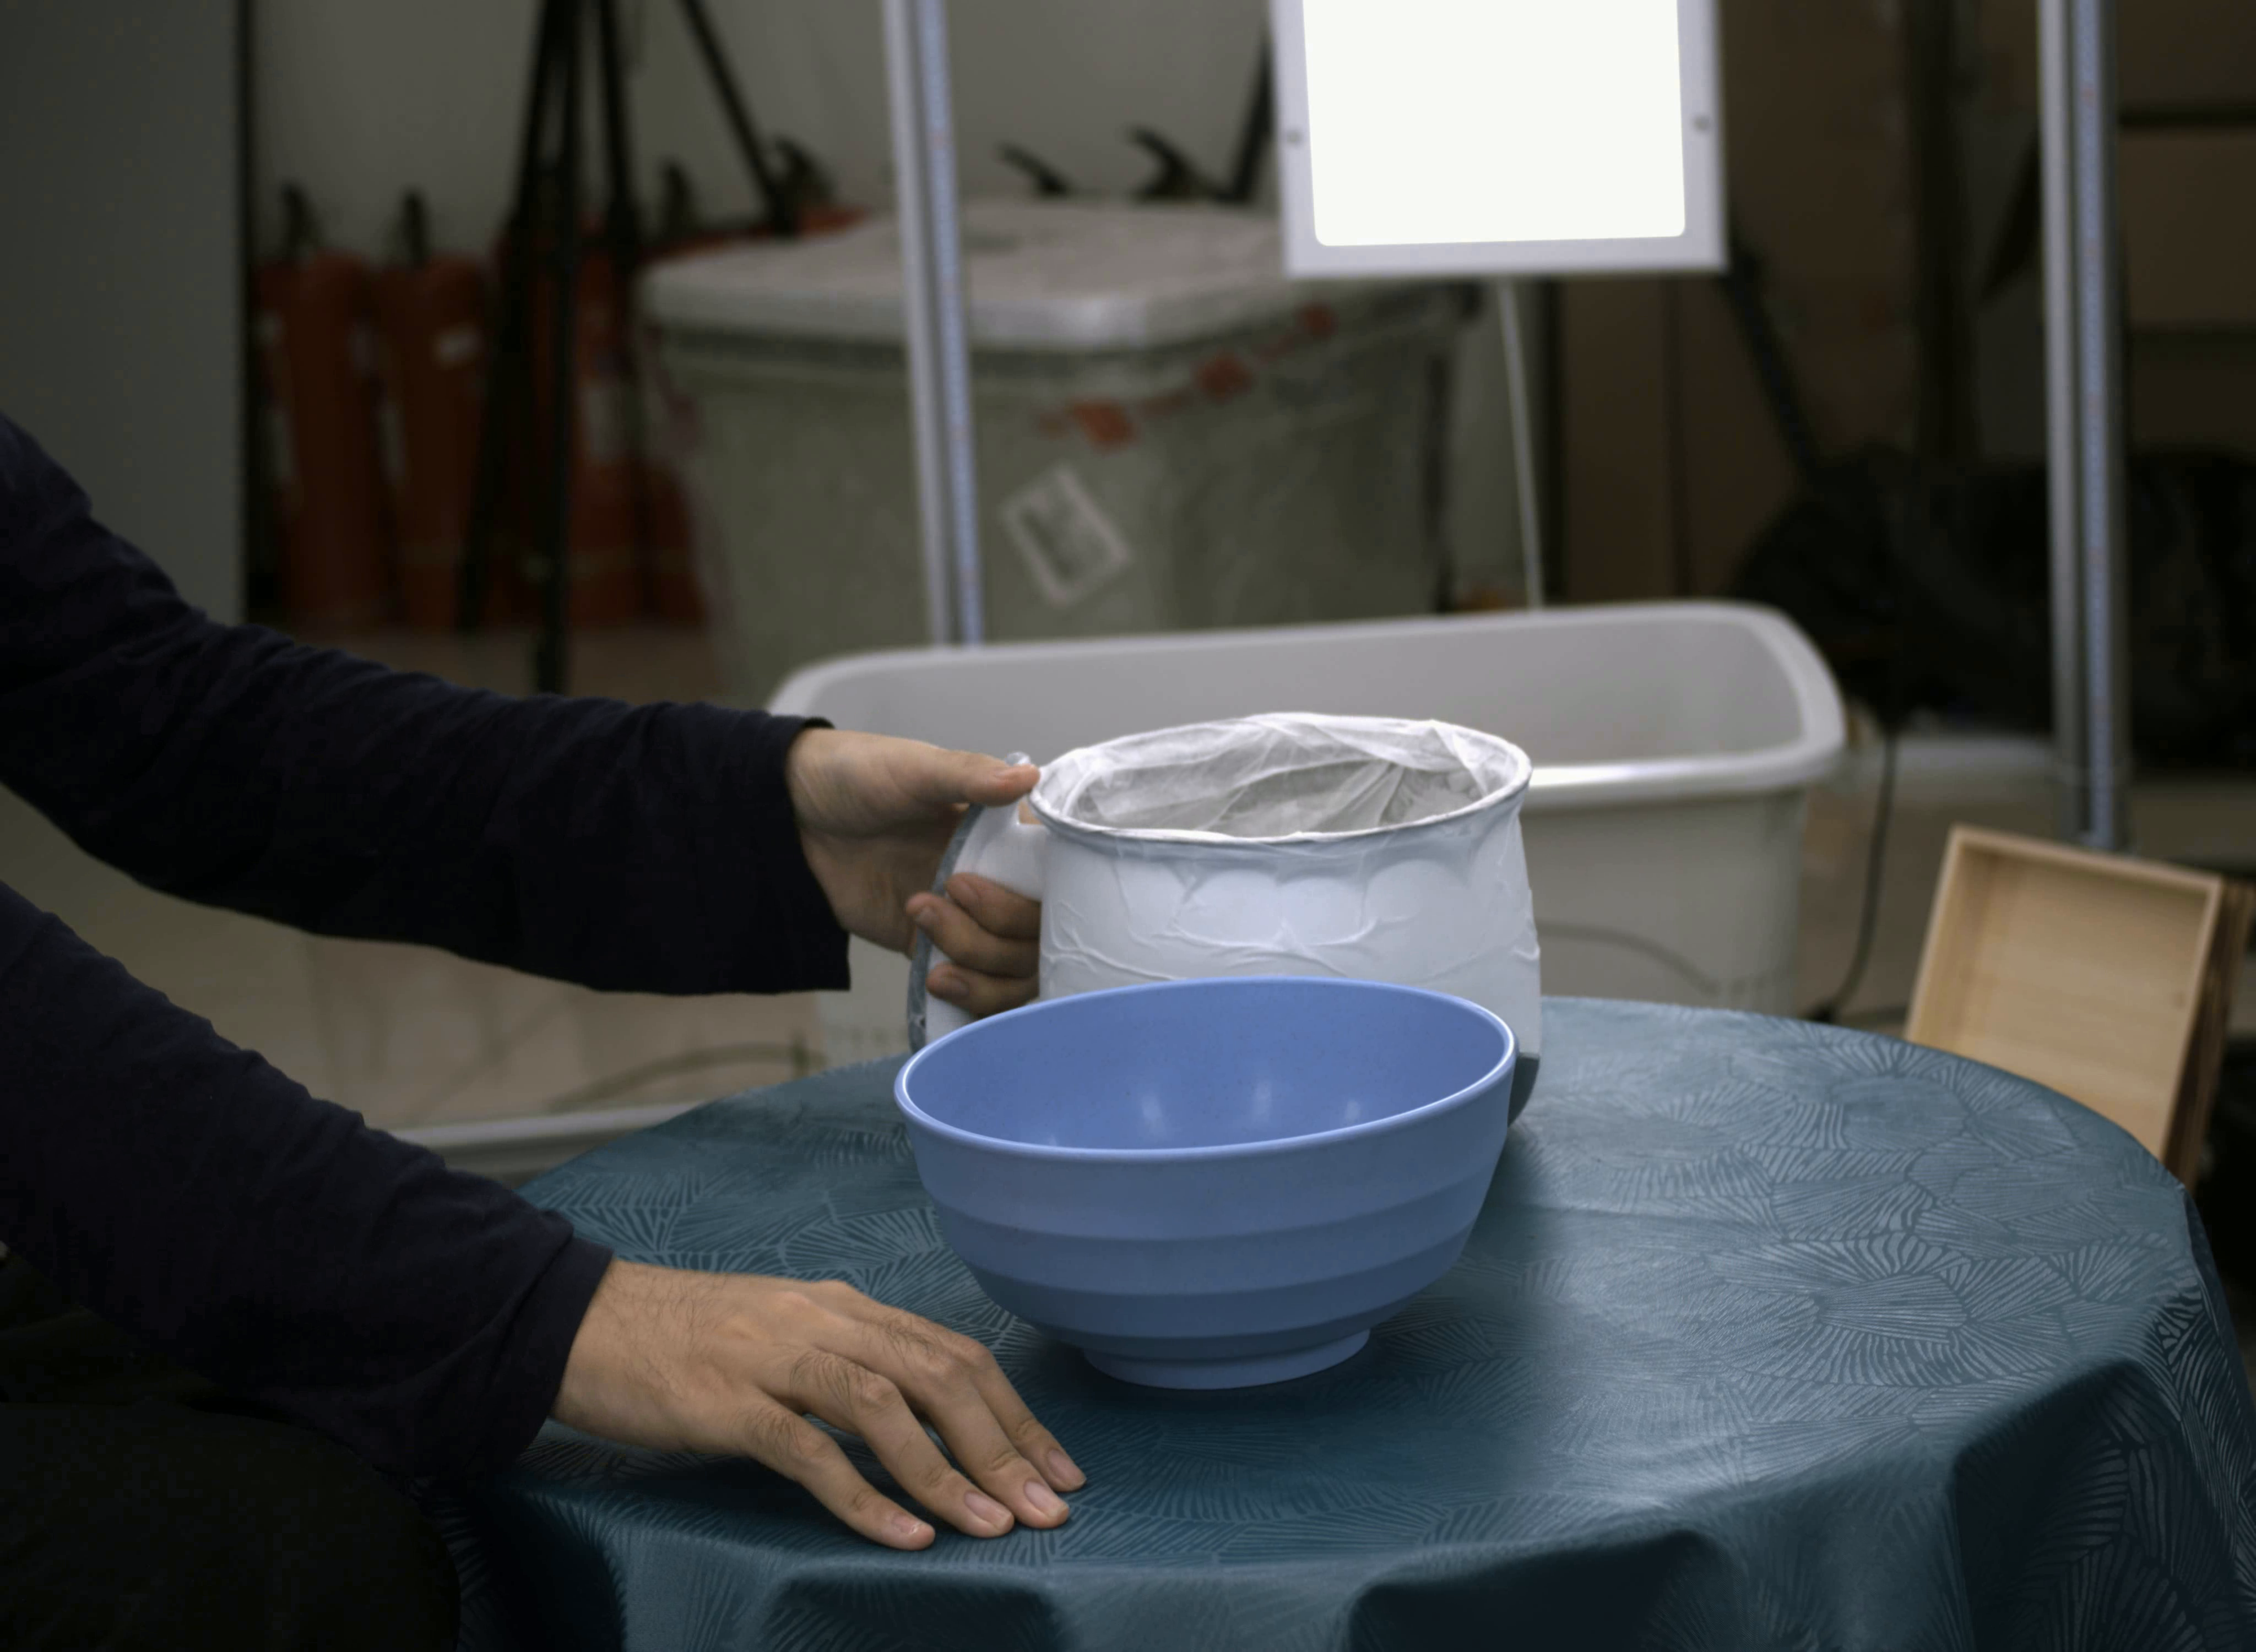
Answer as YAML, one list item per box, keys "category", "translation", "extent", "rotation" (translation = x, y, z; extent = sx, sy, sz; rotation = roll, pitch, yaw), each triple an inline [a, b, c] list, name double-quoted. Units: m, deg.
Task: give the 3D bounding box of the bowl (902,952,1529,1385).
- category: "bowl"
  translation: [0.028, 0.114, 1.729]
  extent: [0.196, 0.096, 0.196]
  rotation: [-2, 17, -1]

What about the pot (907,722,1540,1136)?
- category: "pot"
  translation: [0.031, 0.042, 1.940]
  extent: [0.237, 0.137, 0.175]
  rotation: [2, 13, 21]
